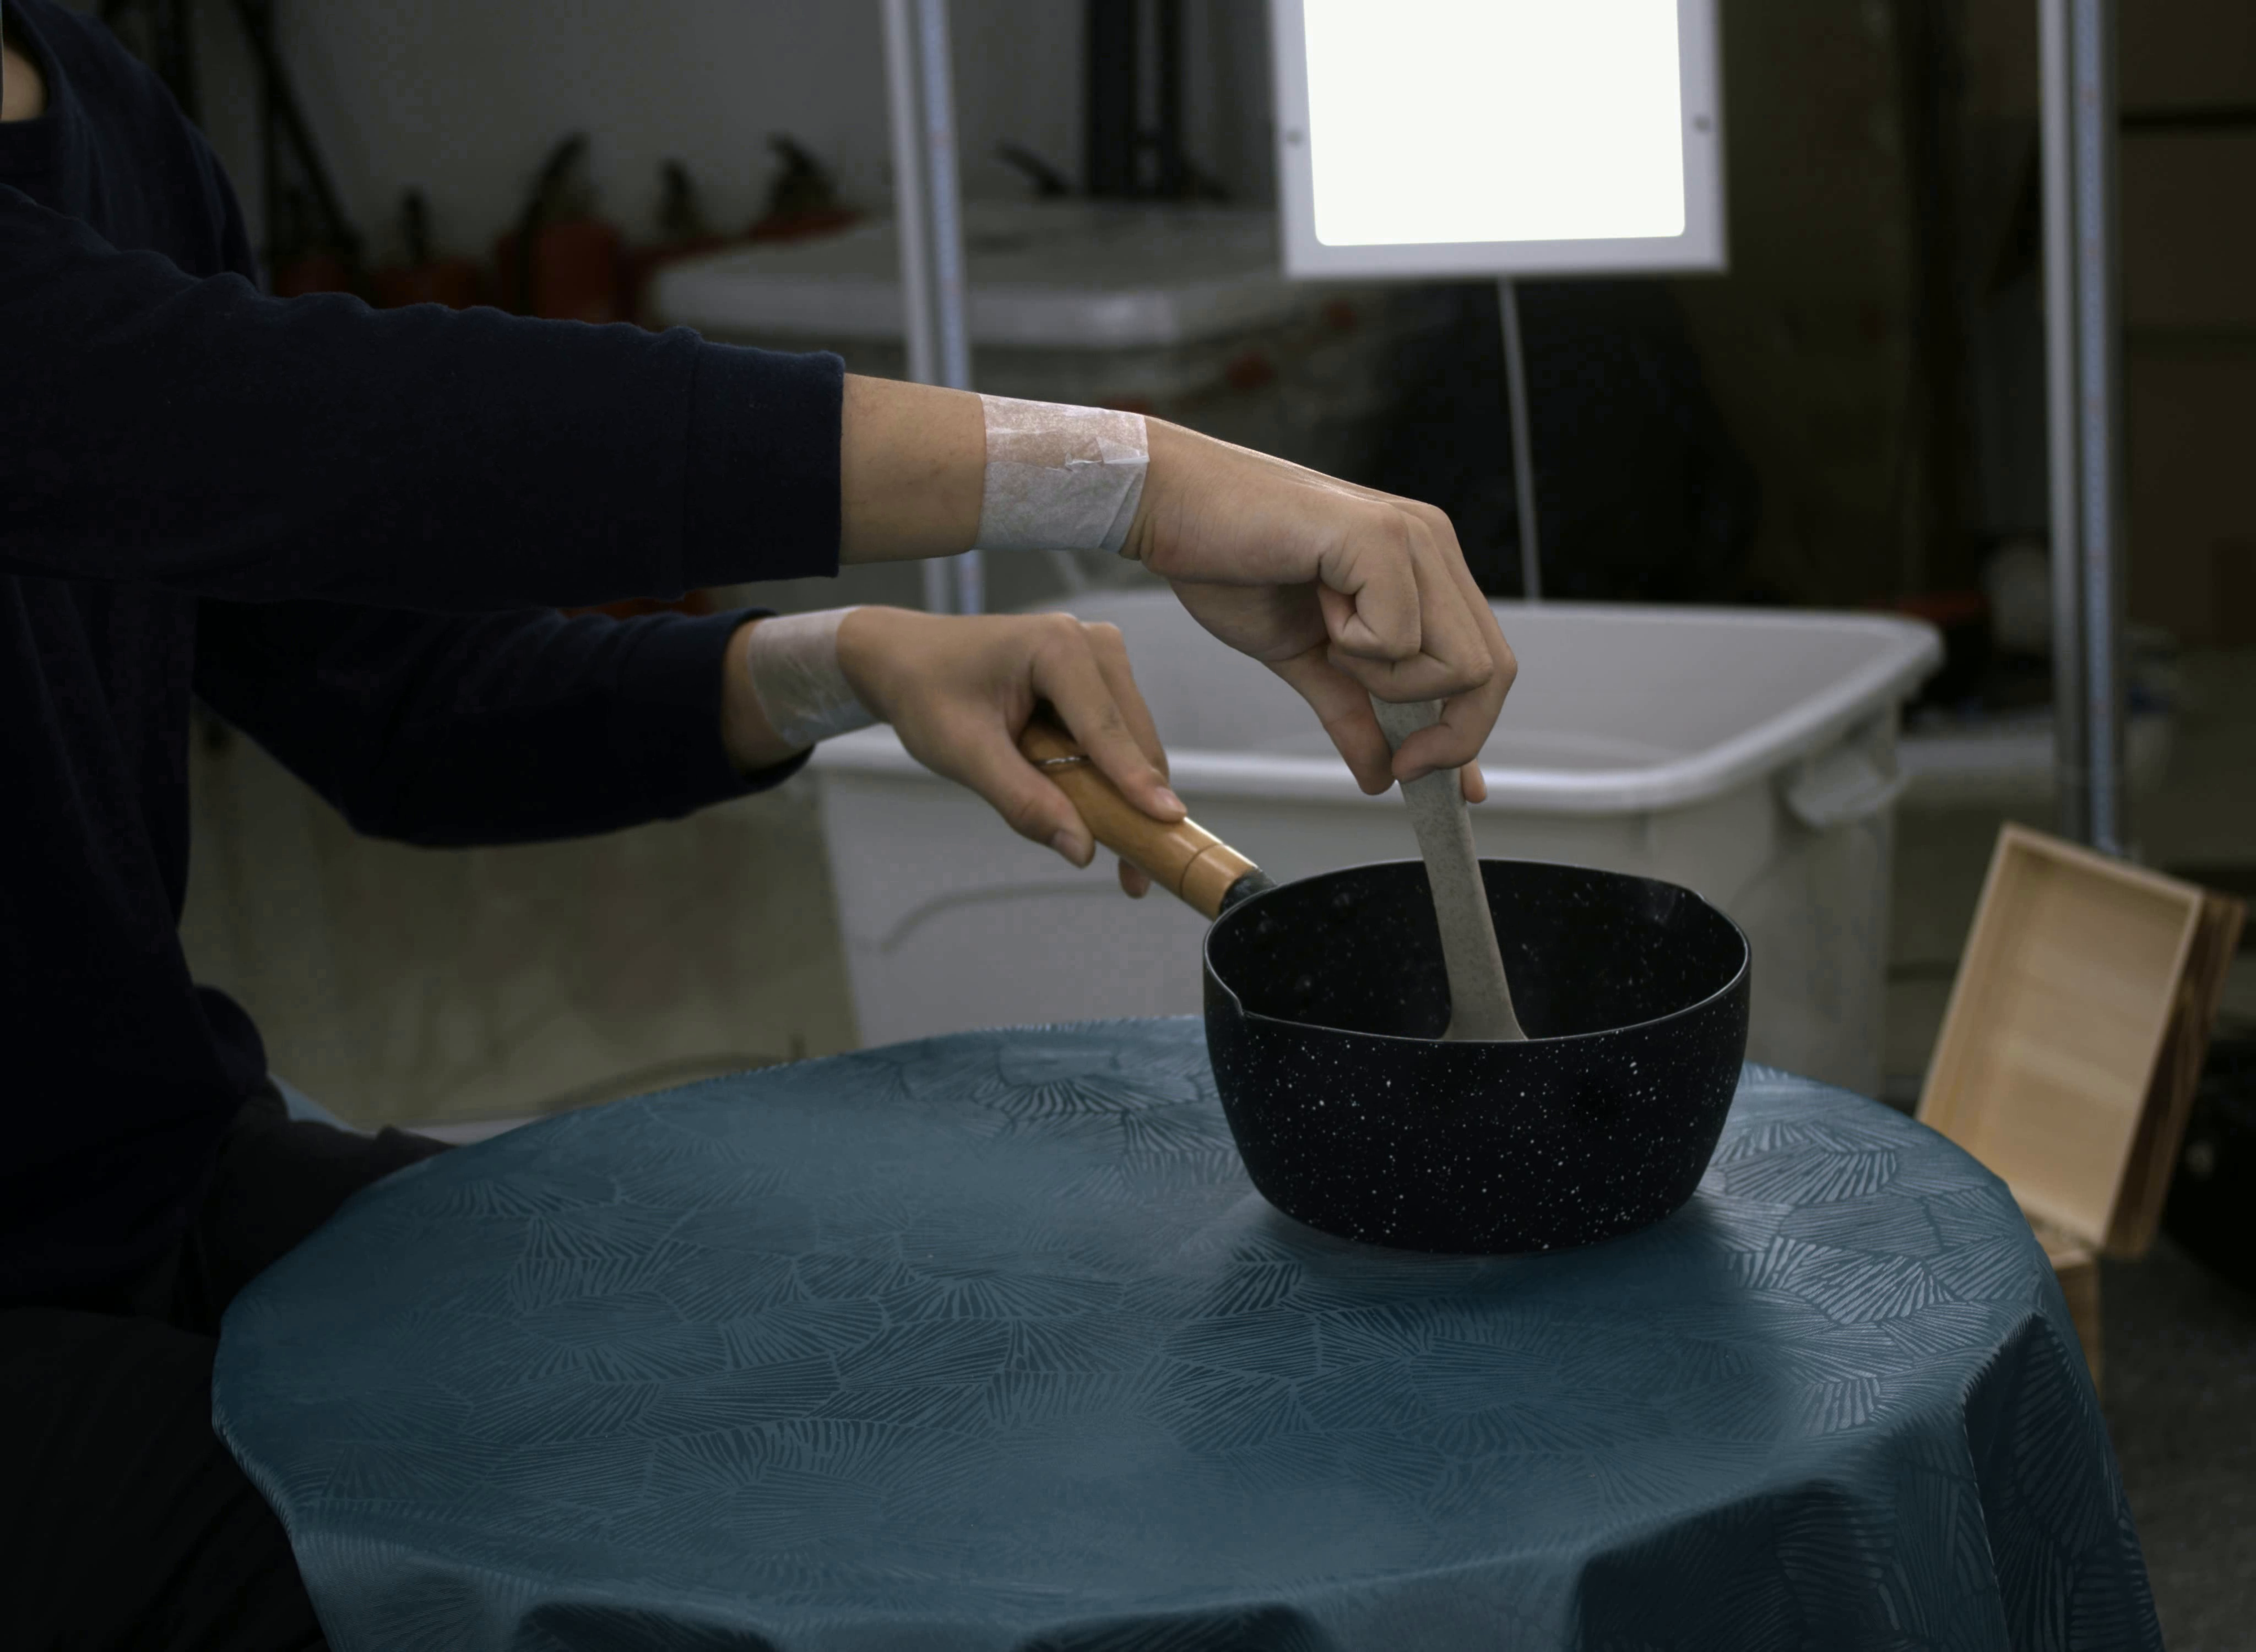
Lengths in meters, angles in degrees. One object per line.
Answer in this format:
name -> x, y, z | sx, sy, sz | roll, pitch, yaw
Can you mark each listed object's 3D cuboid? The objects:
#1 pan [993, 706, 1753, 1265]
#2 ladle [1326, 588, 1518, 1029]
pan -> 0.065, 0.049, 1.901 | 0.202, 0.109, 0.349 | -17, 25, -37
ladle -> 0.112, 0.005, 1.793 | 0.091, 0.274, 0.068 | 14, 50, 31
